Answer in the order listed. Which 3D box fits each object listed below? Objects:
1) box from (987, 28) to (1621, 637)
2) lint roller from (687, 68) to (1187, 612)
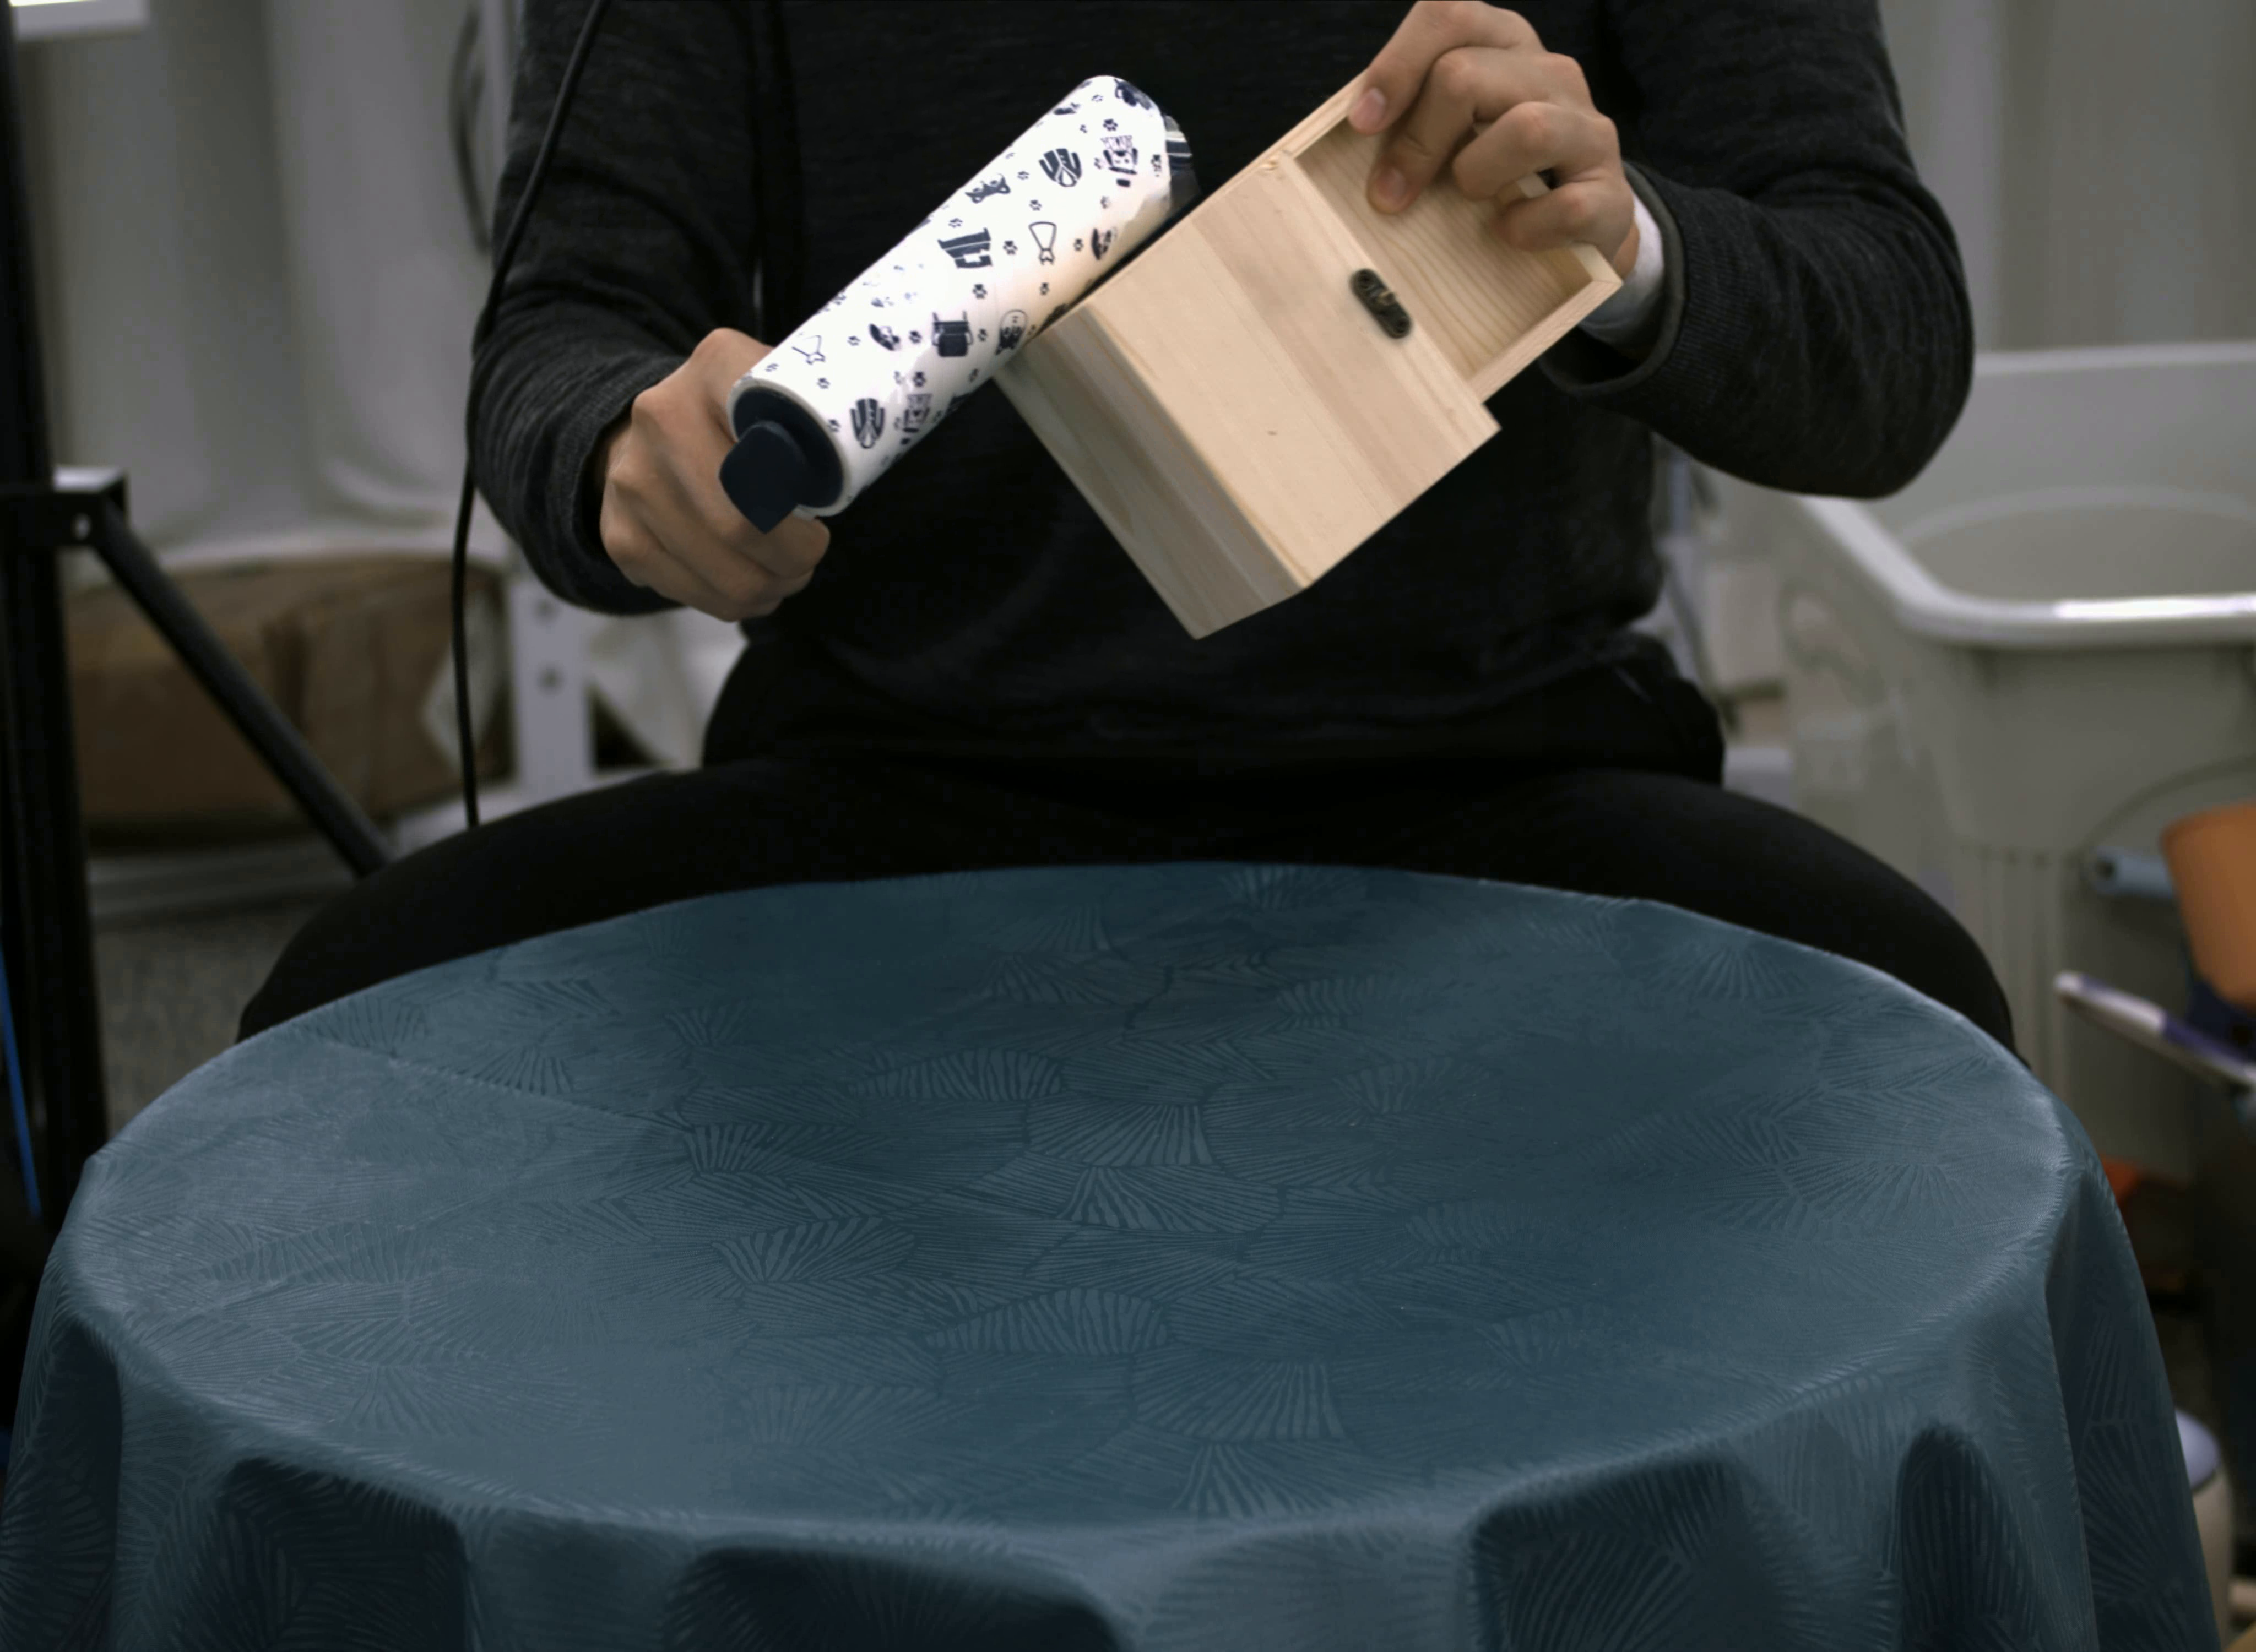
[{"bbox_3d":[0.067,-0.153,1.556,0.183,0.102,0.135,-38,5,-17],"label":"box"},{"bbox_3d":[-0.090,-0.123,1.617,0.174,0.050,0.250,-45,5,-31],"label":"lint roller"}]
